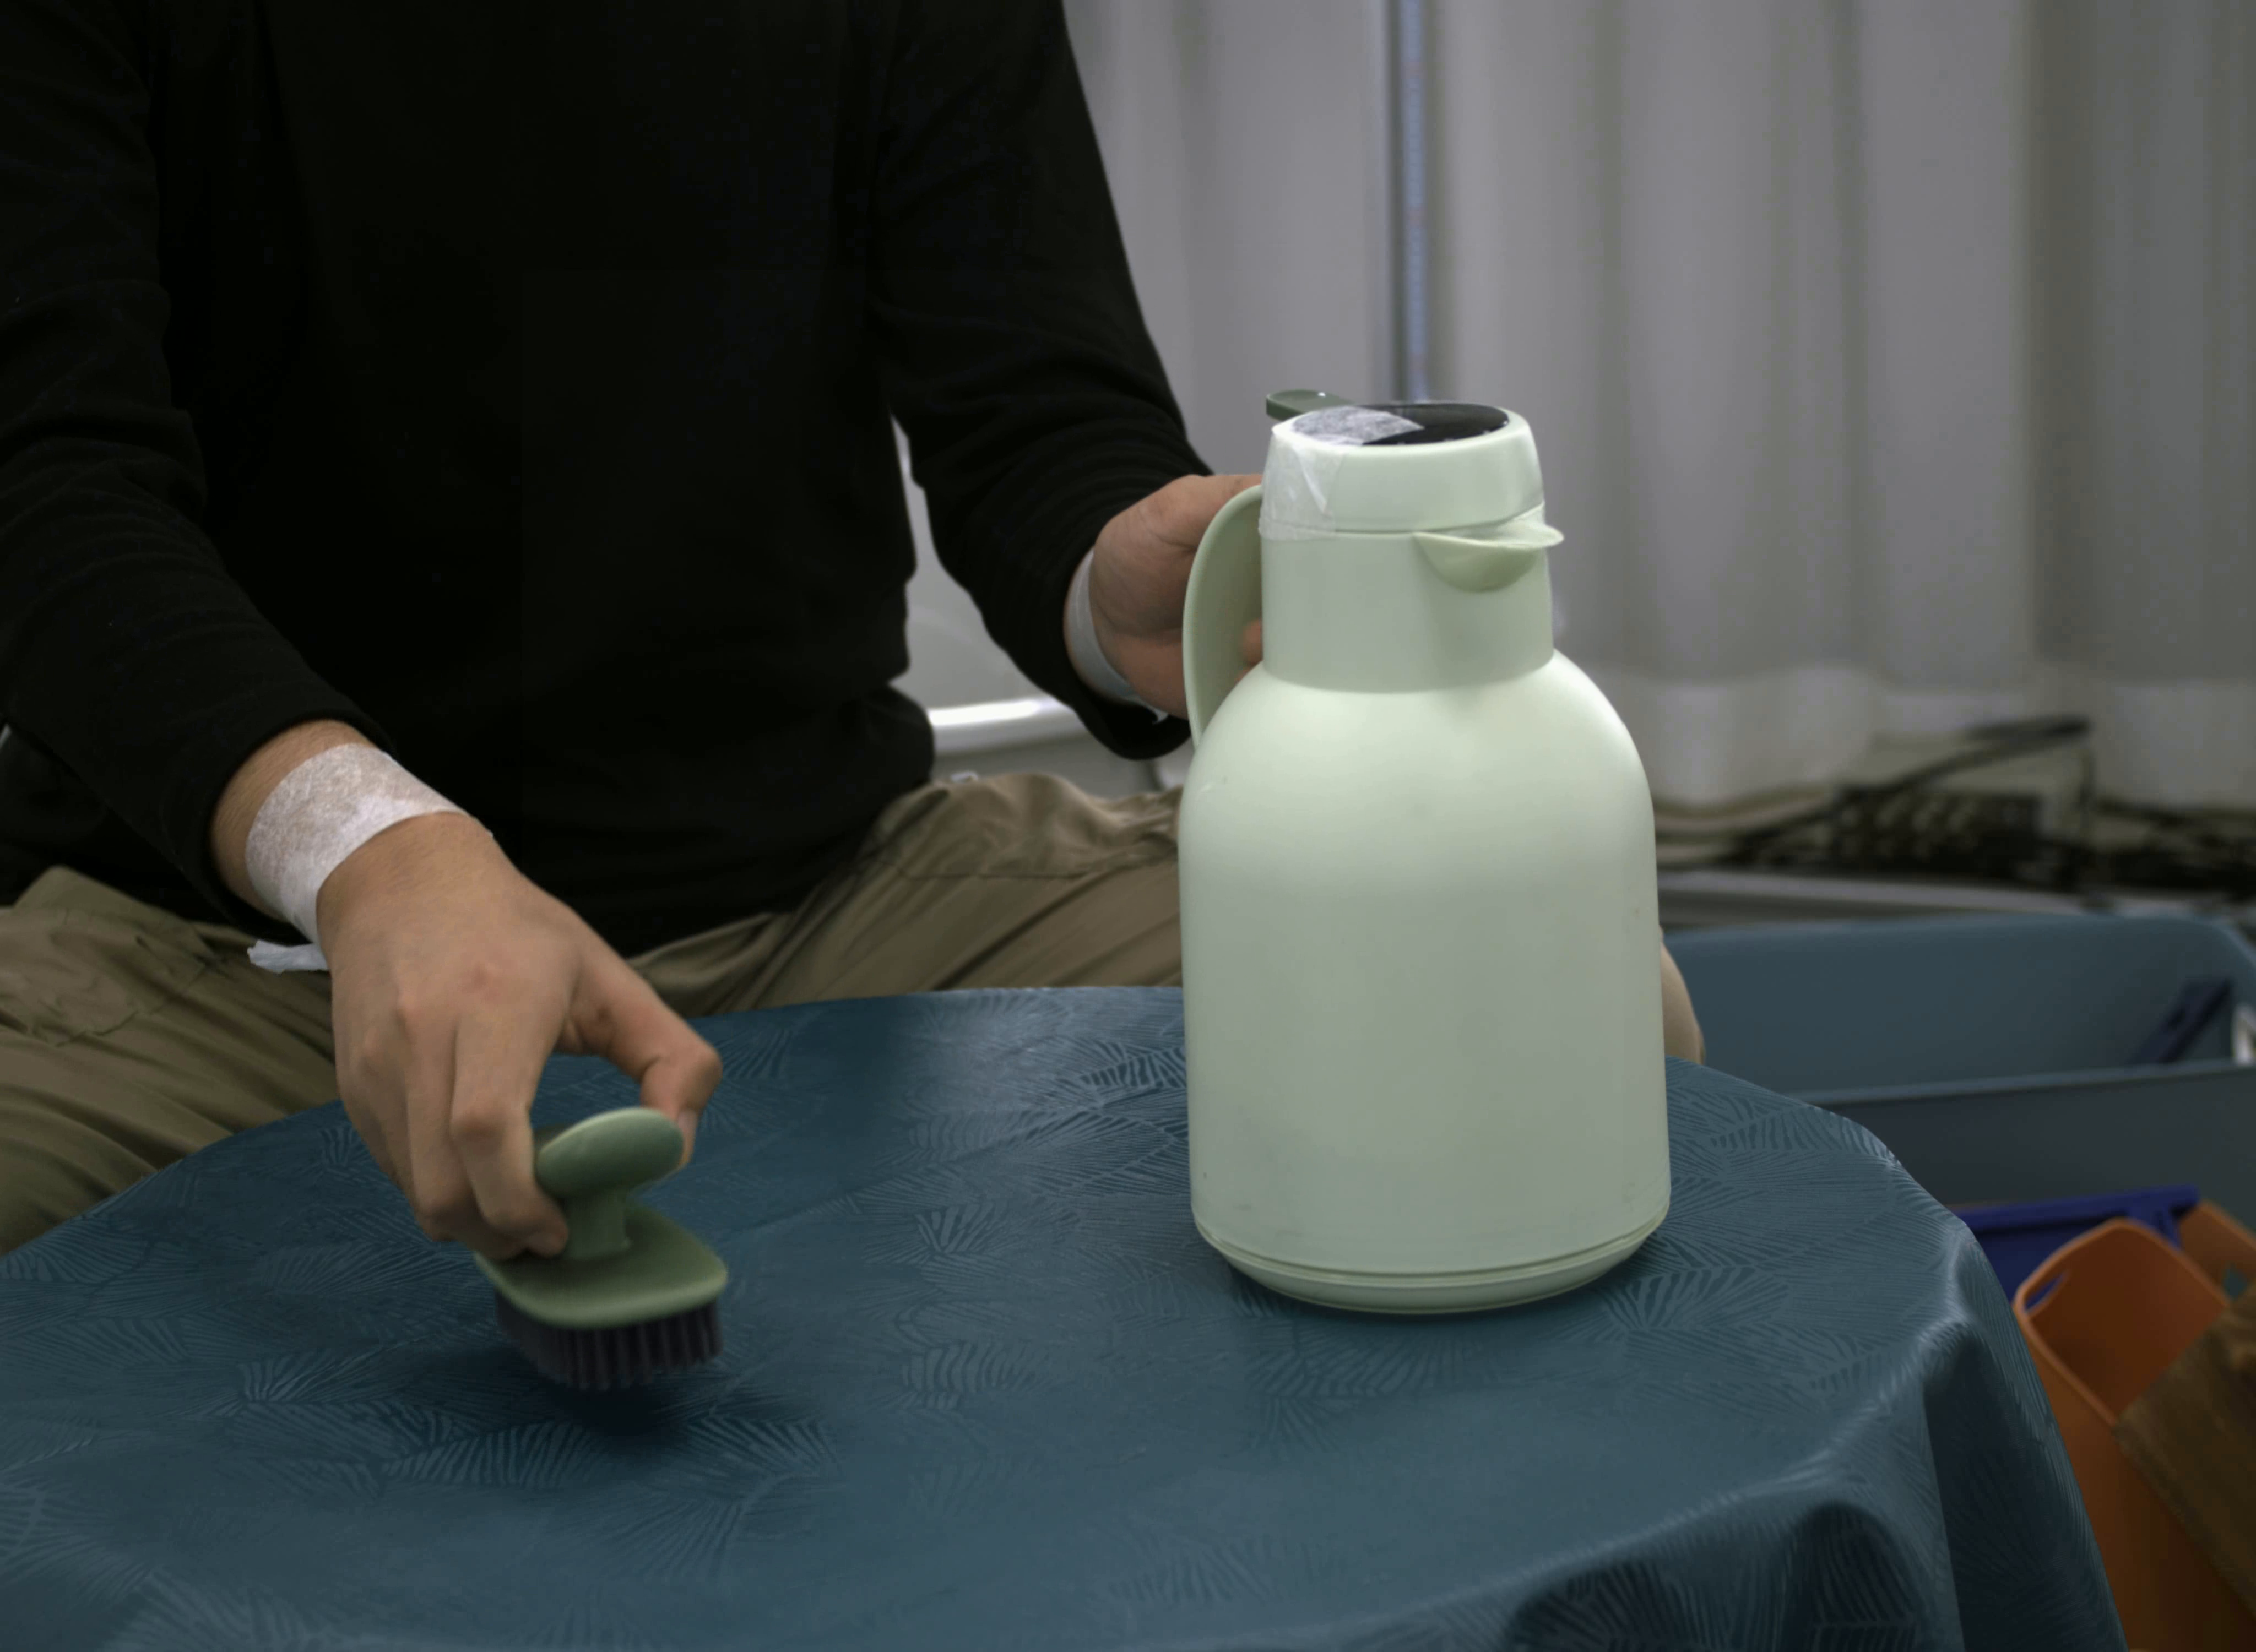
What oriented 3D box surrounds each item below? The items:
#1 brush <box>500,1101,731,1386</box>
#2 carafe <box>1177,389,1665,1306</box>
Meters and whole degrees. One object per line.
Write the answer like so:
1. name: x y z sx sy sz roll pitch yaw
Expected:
1. brush: -0.147 0.120 1.556 0.059 0.076 0.122 -11 -6 -14
2. carafe: 0.077 0.001 1.631 0.143 0.256 0.188 -10 13 -28
